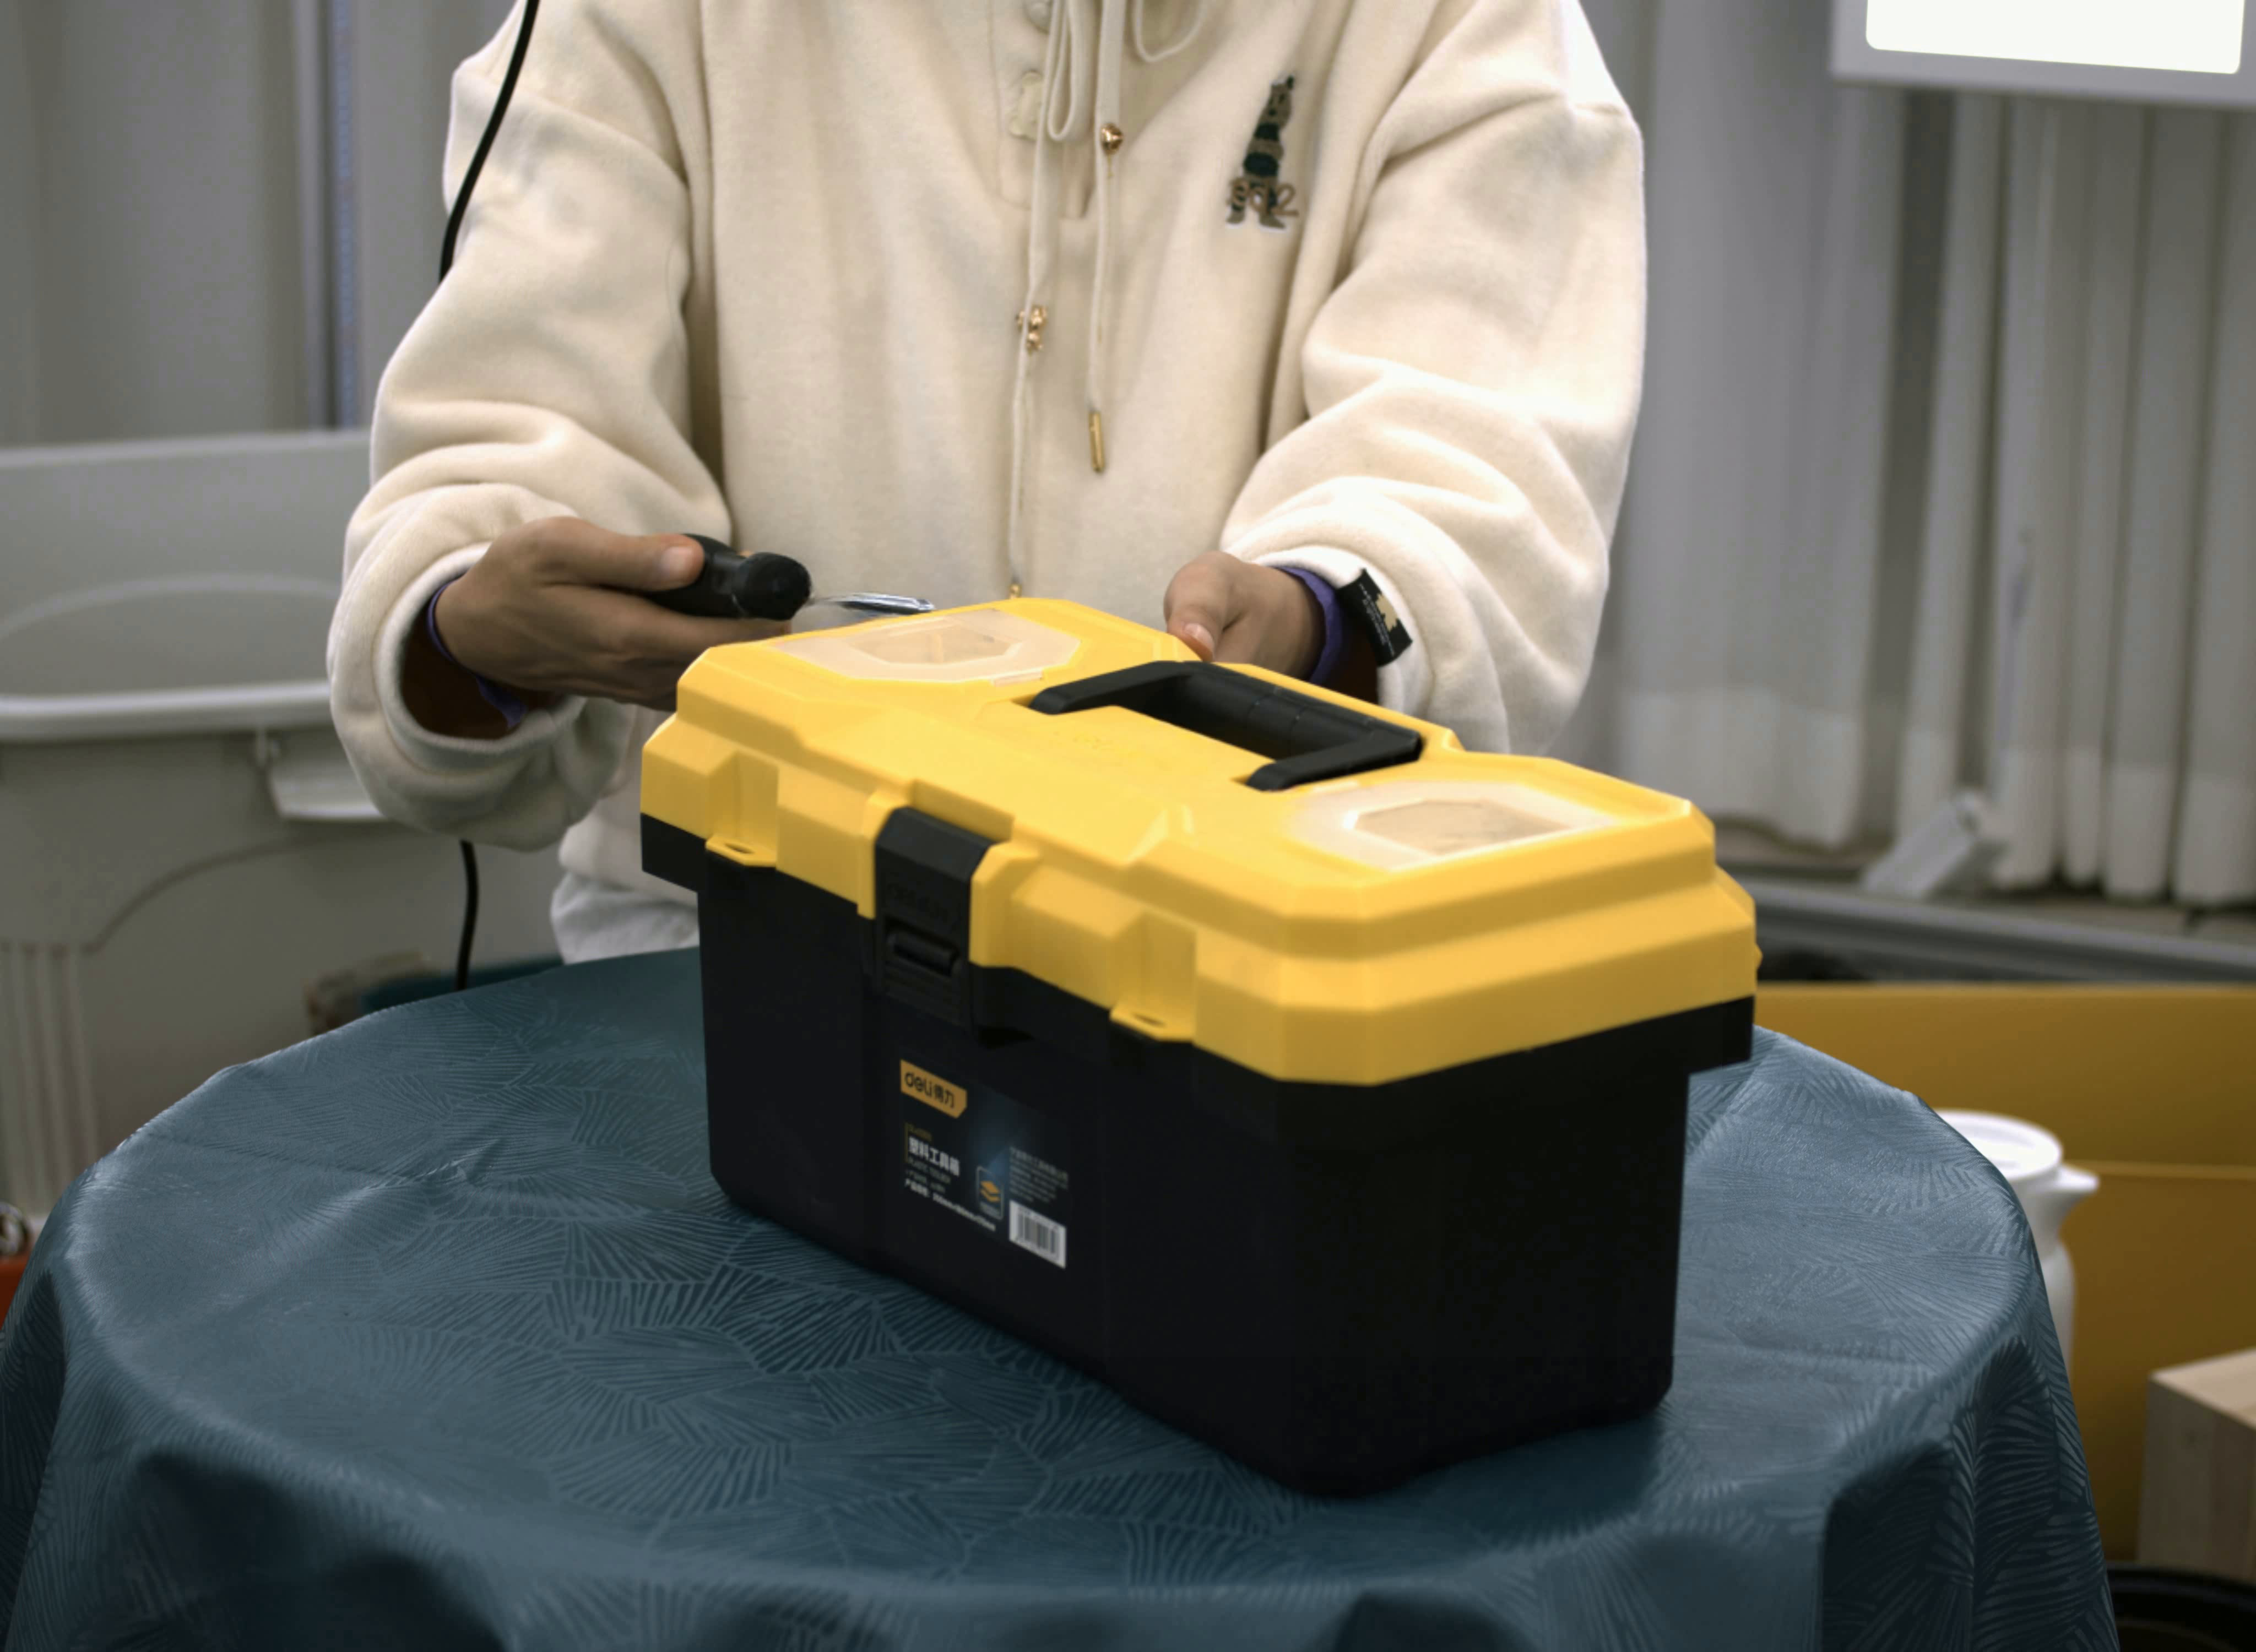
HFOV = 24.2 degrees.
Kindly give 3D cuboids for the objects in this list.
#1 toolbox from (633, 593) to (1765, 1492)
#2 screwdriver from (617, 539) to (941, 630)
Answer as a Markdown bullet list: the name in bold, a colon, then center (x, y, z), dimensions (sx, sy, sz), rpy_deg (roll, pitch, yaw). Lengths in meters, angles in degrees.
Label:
- **toolbox**: center (0.012, 0.053, 1.510), dimensions (0.182, 0.174, 0.347), rpy_deg (-11, 19, -35)
- **screwdriver**: center (-0.112, -0.072, 1.703), dimensions (0.031, 0.031, 0.194), rpy_deg (-10, 14, -33)
